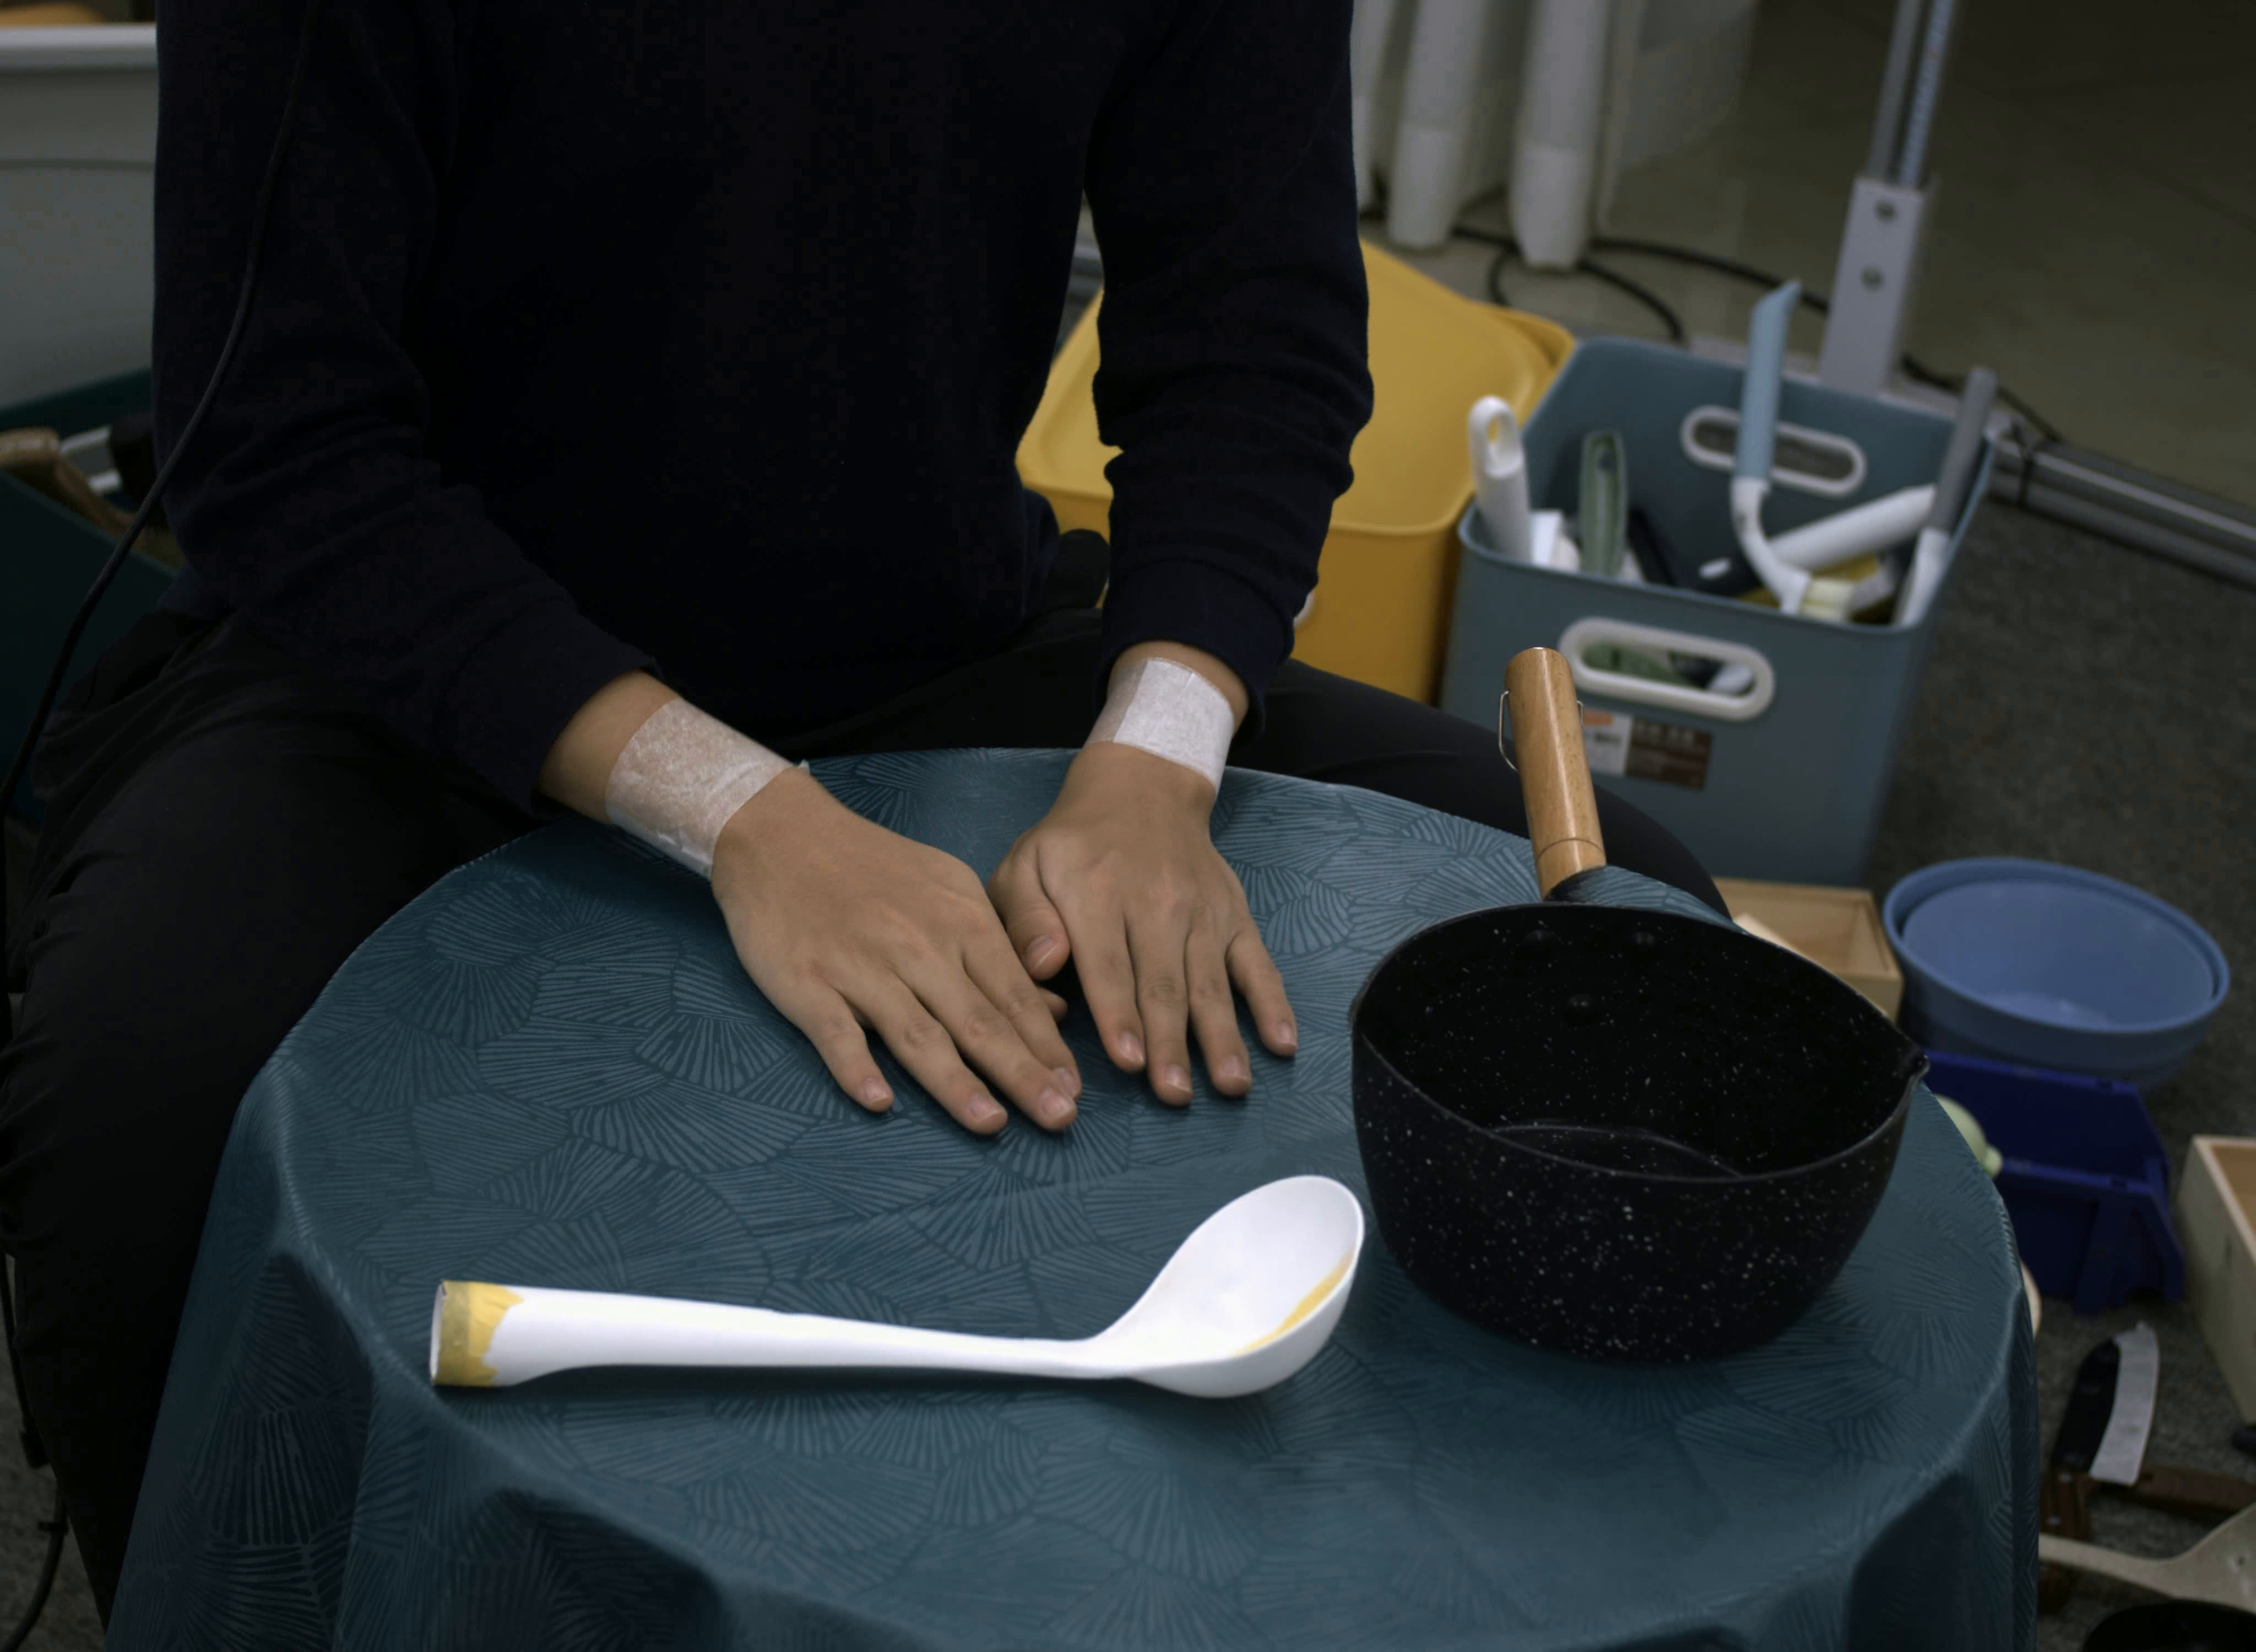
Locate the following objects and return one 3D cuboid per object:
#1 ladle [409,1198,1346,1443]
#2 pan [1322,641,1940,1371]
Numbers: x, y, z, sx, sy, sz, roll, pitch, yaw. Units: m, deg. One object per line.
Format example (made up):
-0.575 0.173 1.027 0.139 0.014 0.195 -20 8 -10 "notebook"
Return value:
-0.076 0.156 1.654 0.291 0.070 0.090 1 13 -13 "ladle"
0.158 0.059 1.847 0.206 0.108 0.345 2 29 -7 "pan"
